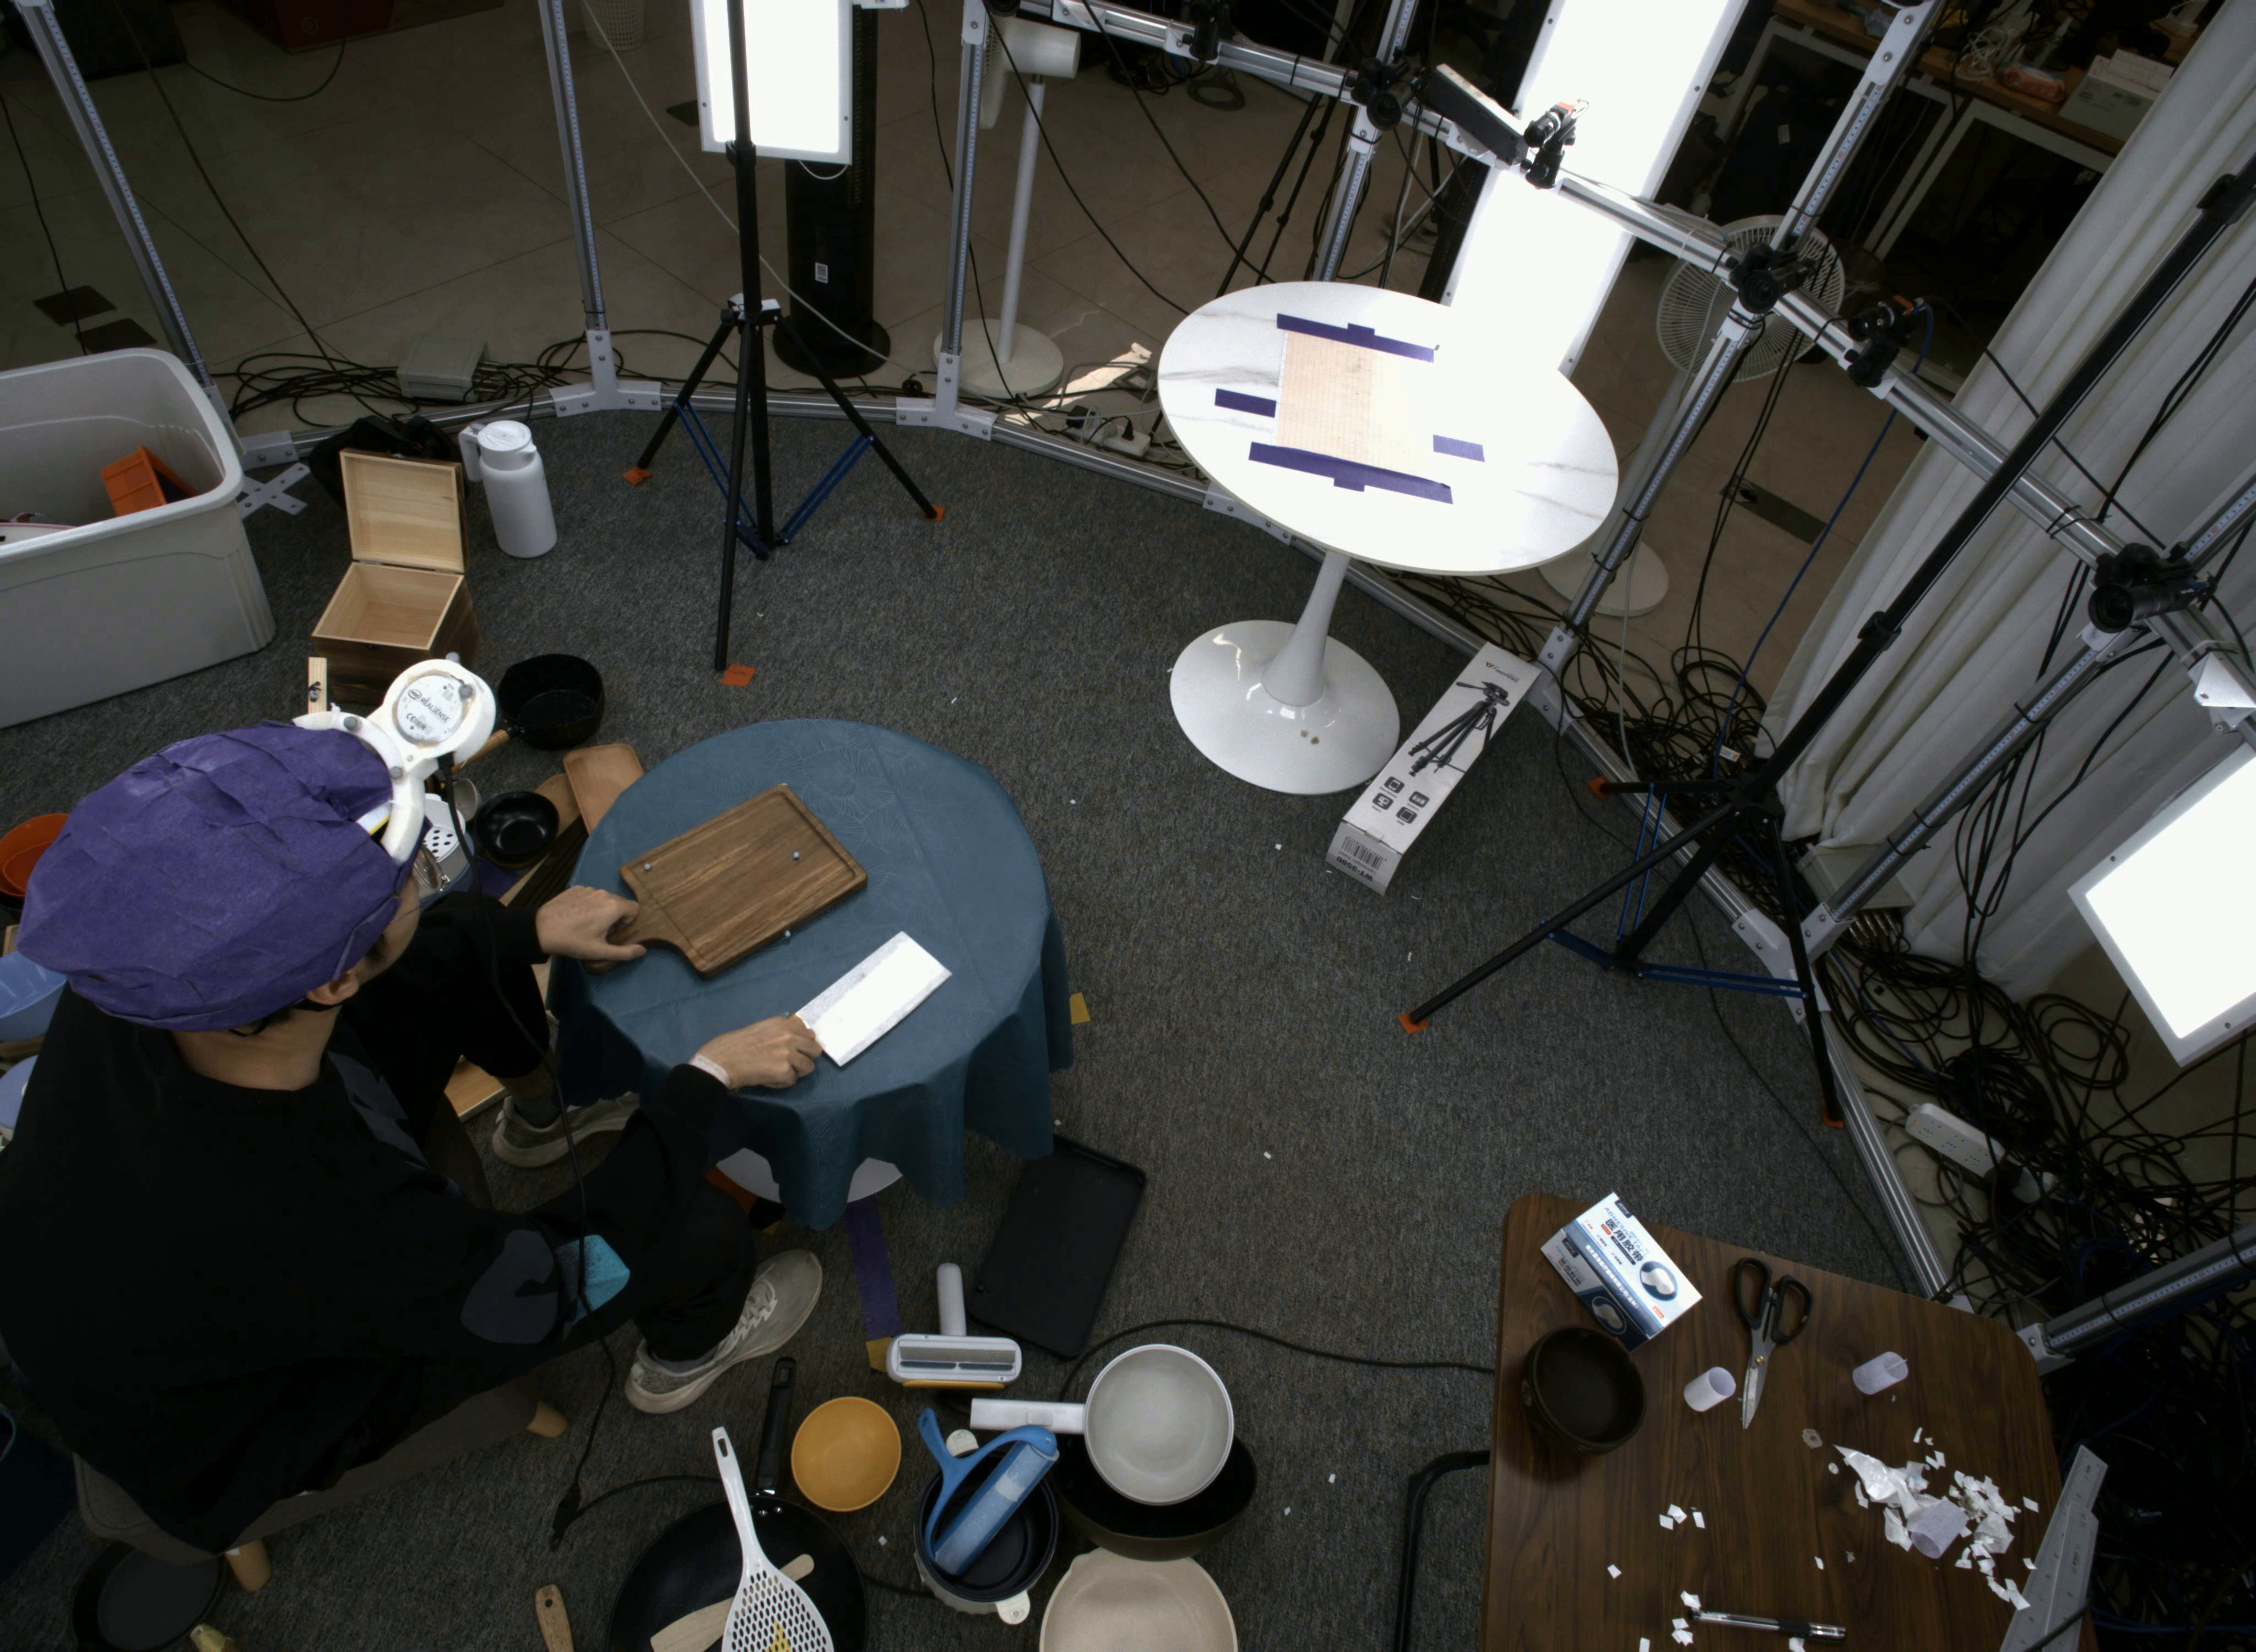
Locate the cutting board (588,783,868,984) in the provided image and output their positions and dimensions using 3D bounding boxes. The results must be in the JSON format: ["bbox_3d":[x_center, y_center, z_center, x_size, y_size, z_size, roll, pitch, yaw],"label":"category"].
[{"bbox_3d":[-0.521,0.087,1.608,0.353,0.023,0.196,-34,68,-33],"label":"cutting board"}]

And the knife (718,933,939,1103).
[{"bbox_3d":[-0.346,0.235,1.548,0.091,0.021,0.306,39,51,13],"label":"knife"}]
